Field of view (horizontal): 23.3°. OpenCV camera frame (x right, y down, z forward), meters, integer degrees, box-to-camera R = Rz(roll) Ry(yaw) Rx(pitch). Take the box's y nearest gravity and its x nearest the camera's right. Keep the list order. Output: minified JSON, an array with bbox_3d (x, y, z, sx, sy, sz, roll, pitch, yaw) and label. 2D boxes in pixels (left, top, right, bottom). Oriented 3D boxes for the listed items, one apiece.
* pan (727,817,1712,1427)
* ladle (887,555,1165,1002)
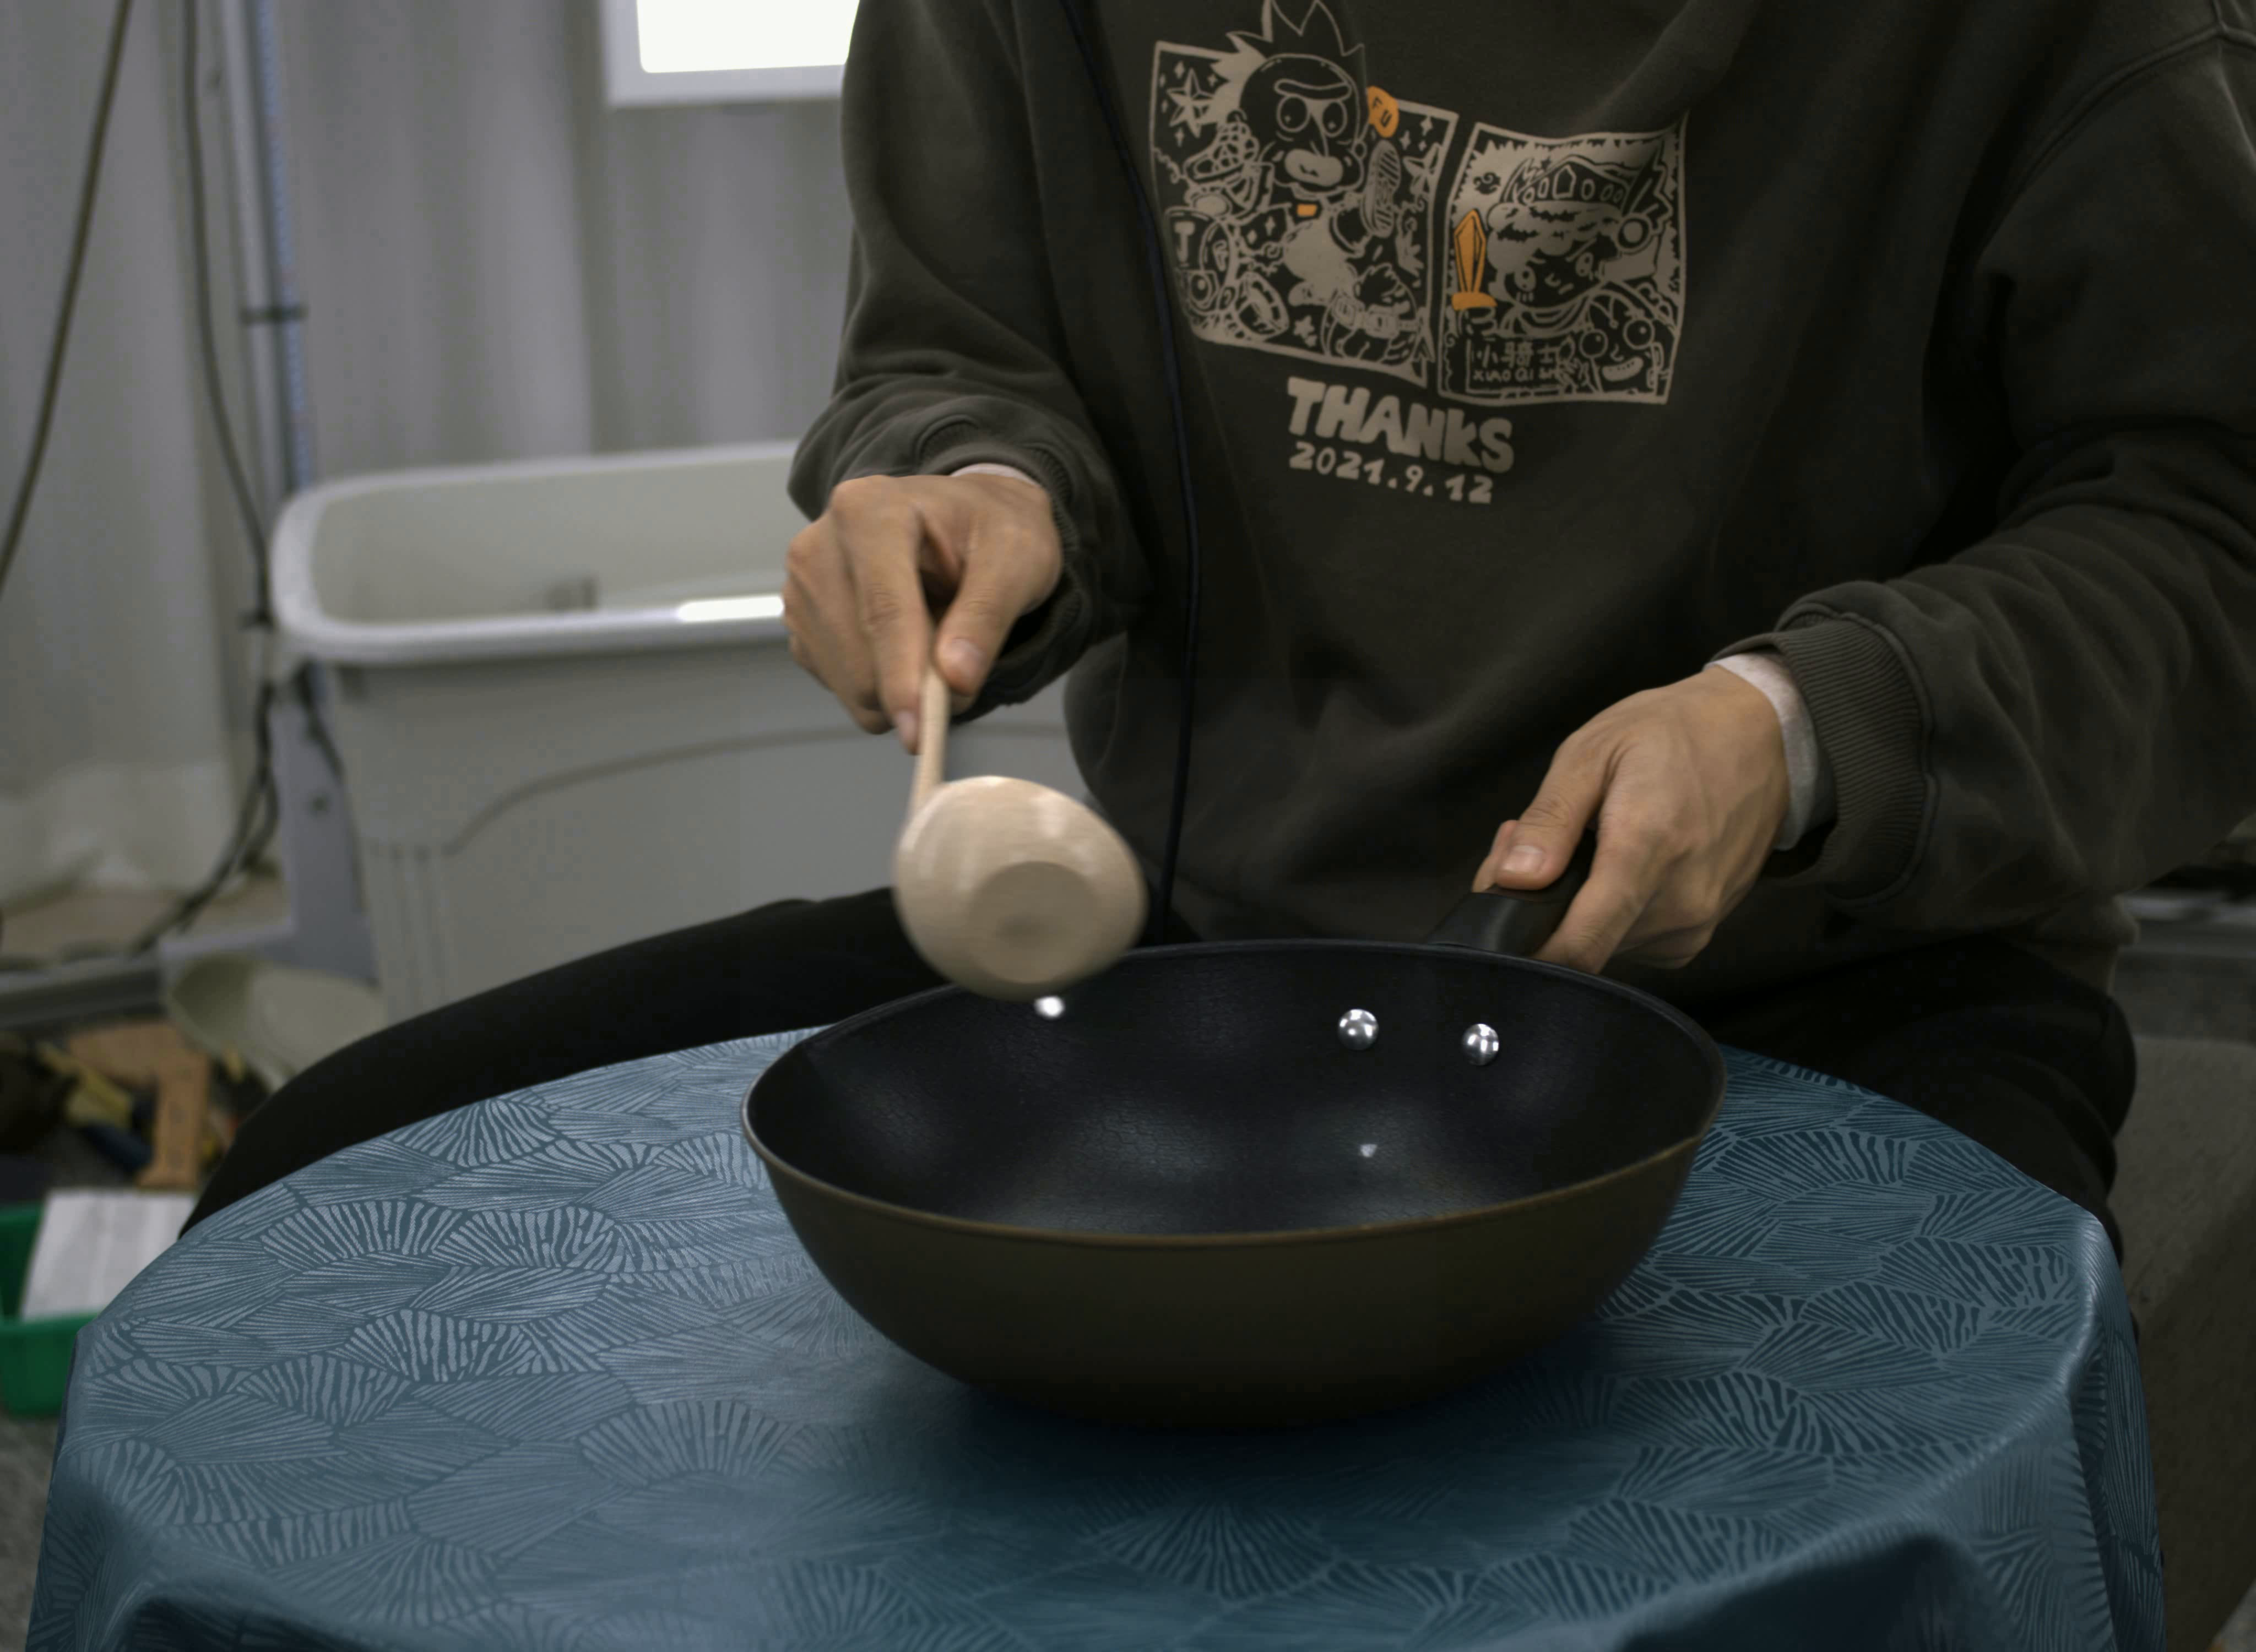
[{"bbox_3d":[0.069,0.087,1.654,0.289,0.086,0.464,5,16,27],"label":"pan"},{"bbox_3d":[-0.034,-0.035,1.674,0.072,0.071,0.258,-28,30,11],"label":"ladle"}]
